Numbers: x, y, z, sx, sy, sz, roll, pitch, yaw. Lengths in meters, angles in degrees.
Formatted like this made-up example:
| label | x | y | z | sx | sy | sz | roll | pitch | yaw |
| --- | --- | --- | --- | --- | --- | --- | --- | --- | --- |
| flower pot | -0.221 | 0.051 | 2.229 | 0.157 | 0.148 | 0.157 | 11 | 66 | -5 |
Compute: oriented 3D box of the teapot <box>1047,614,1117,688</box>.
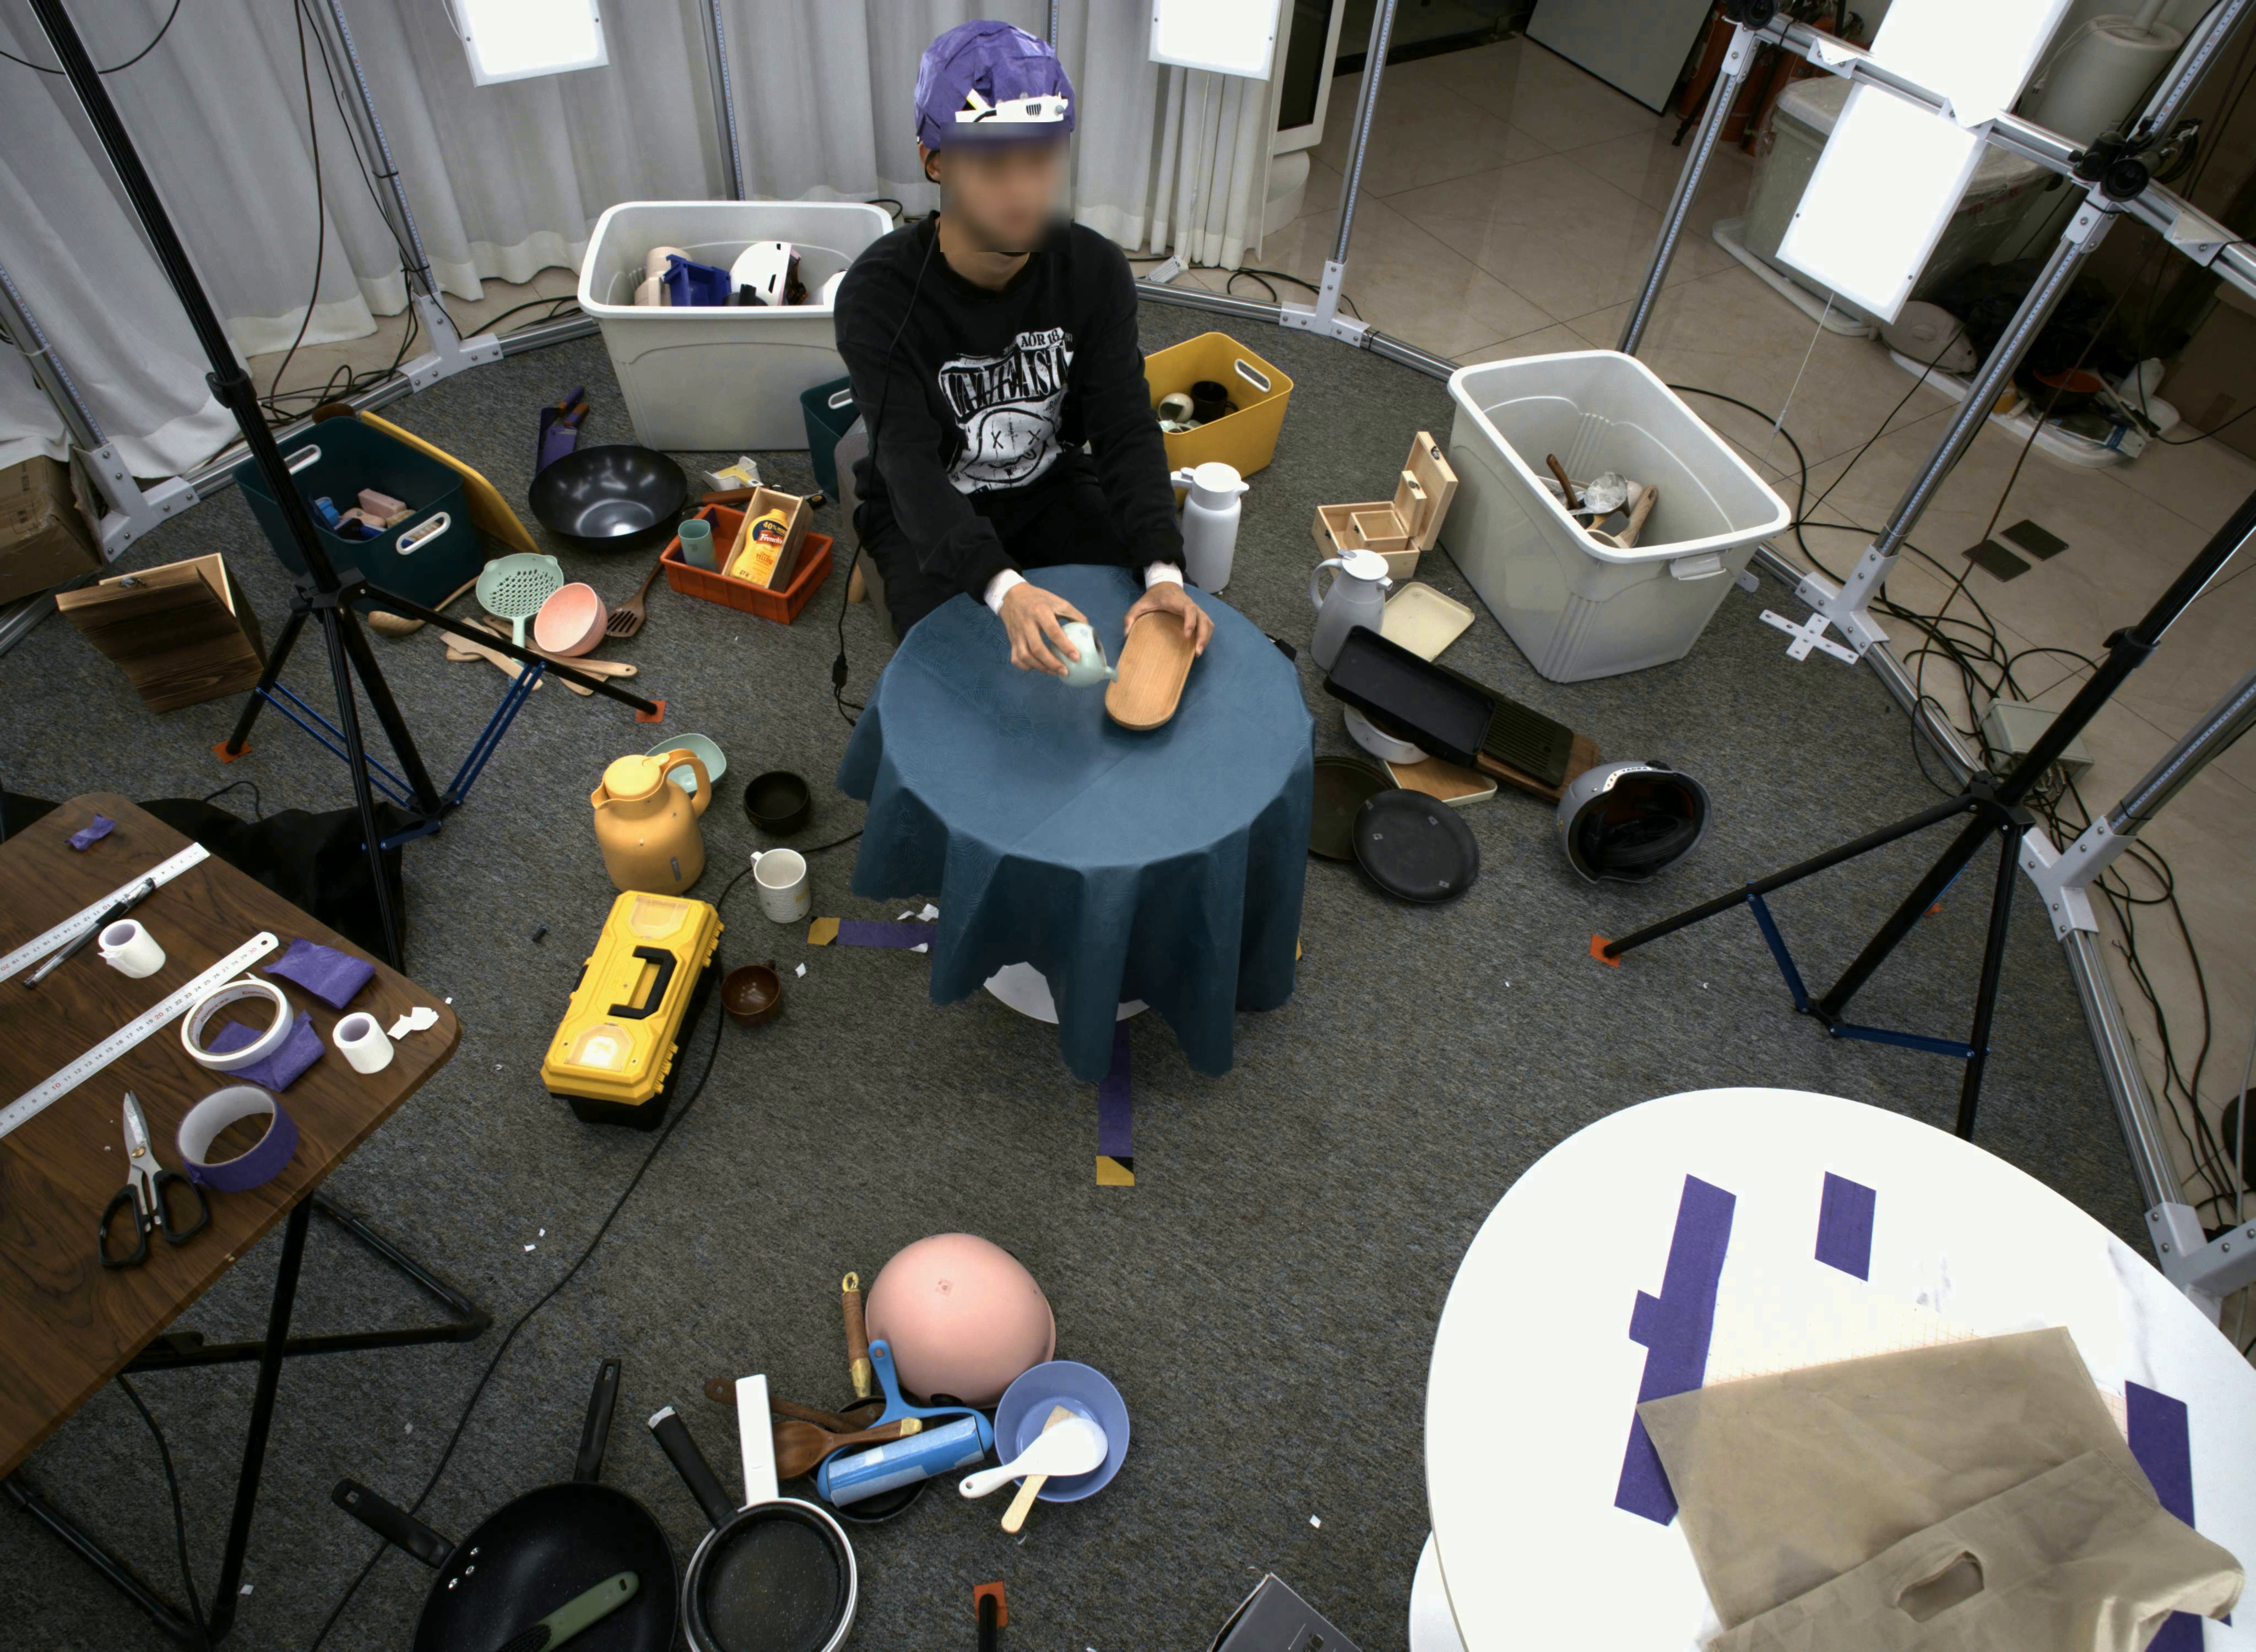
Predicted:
| label | x | y | z | sx | sy | sz | roll | pitch | yaw |
| --- | --- | --- | --- | --- | --- | --- | --- | --- | --- |
| teapot | -0.067 | -0.228 | 1.708 | 0.074 | 0.140 | 0.090 | -15 | 53 | 9 |

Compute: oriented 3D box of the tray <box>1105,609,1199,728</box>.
| label | x | y | z | sx | sy | sz | roll | pitch | yaw |
| --- | --- | --- | --- | --- | --- | --- | --- | --- | --- |
| tray | 0.036 | -0.226 | 1.827 | 0.102 | 0.020 | 0.236 | 12 | 51 | 9 |
